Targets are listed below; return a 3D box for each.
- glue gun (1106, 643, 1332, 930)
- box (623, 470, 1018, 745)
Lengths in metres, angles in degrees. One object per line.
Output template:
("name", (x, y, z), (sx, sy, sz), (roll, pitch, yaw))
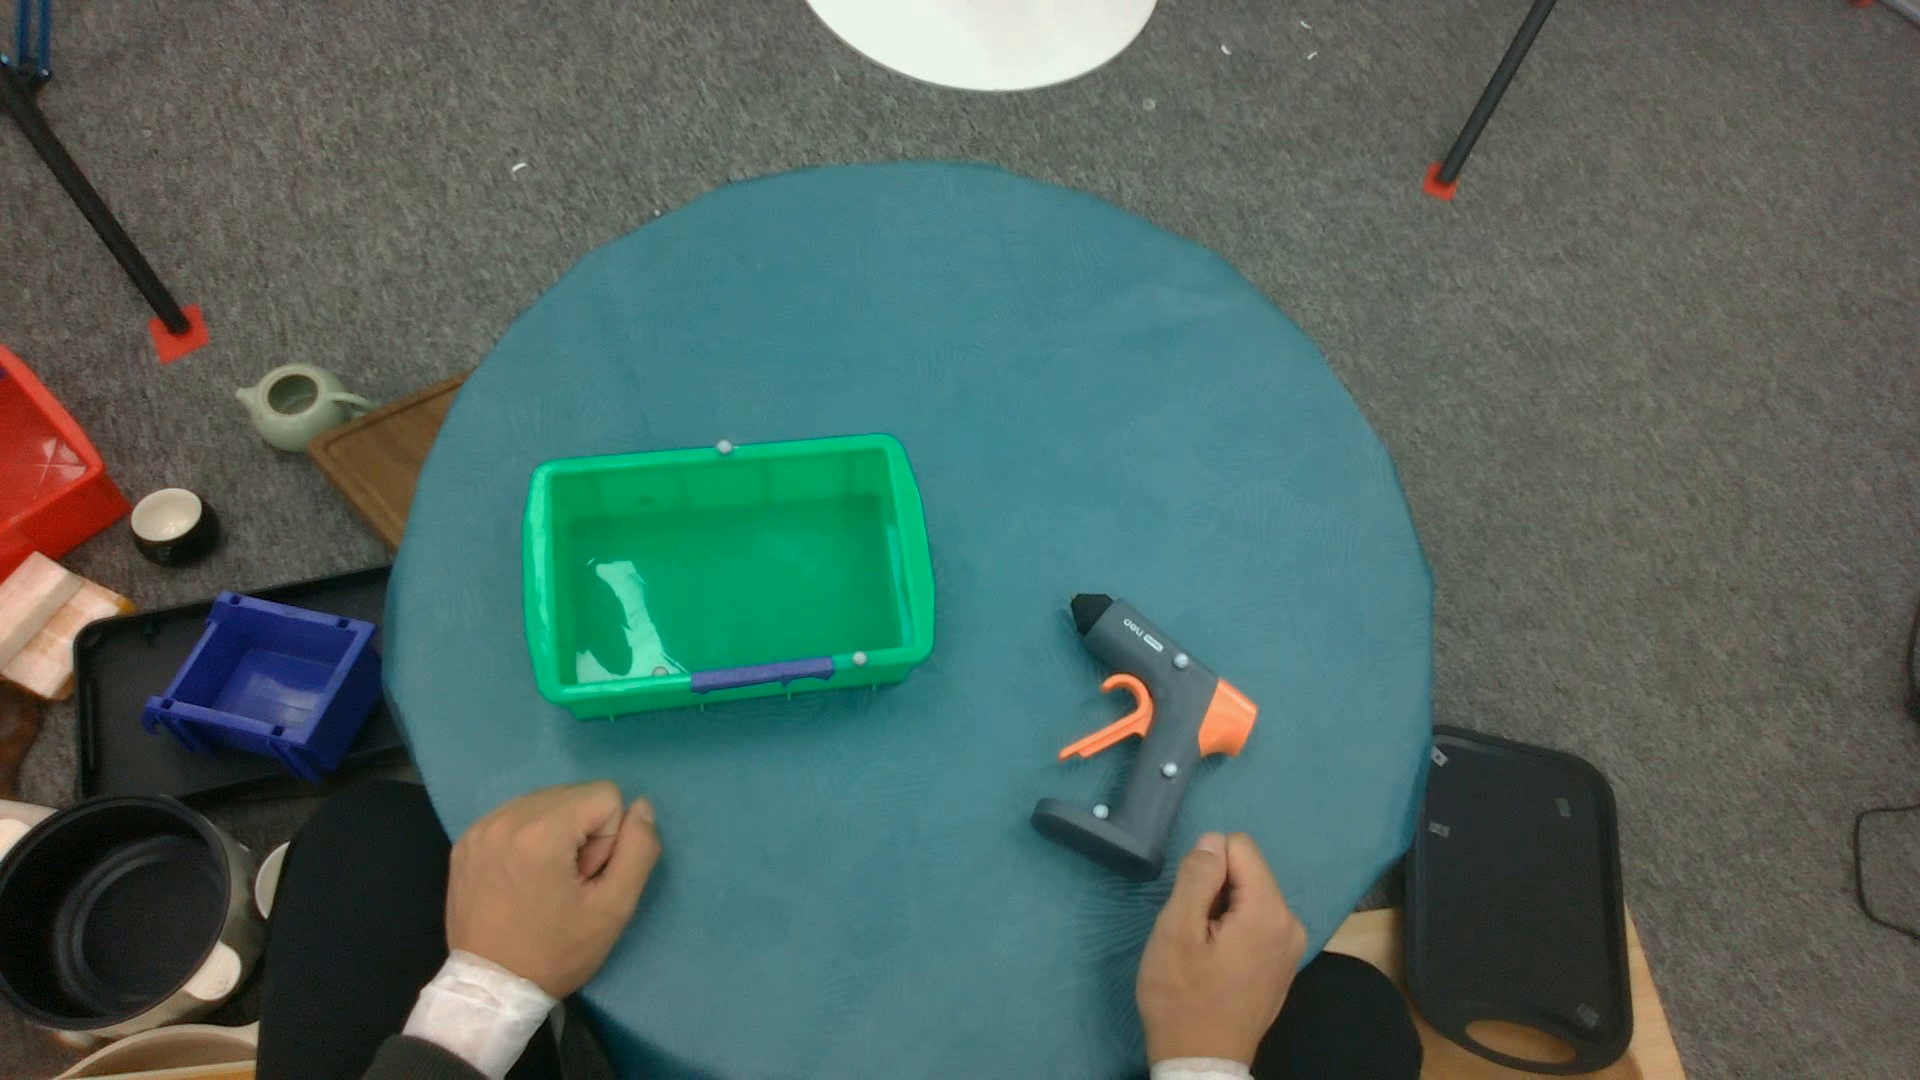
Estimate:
("glue gun", (0.134, 0.131, 0.759), (0.118, 0.041, 0.140), (24, 61, 10))
("box", (-0.078, 0.040, 0.772), (0.210, 0.065, 0.139), (-4, 64, -8))
